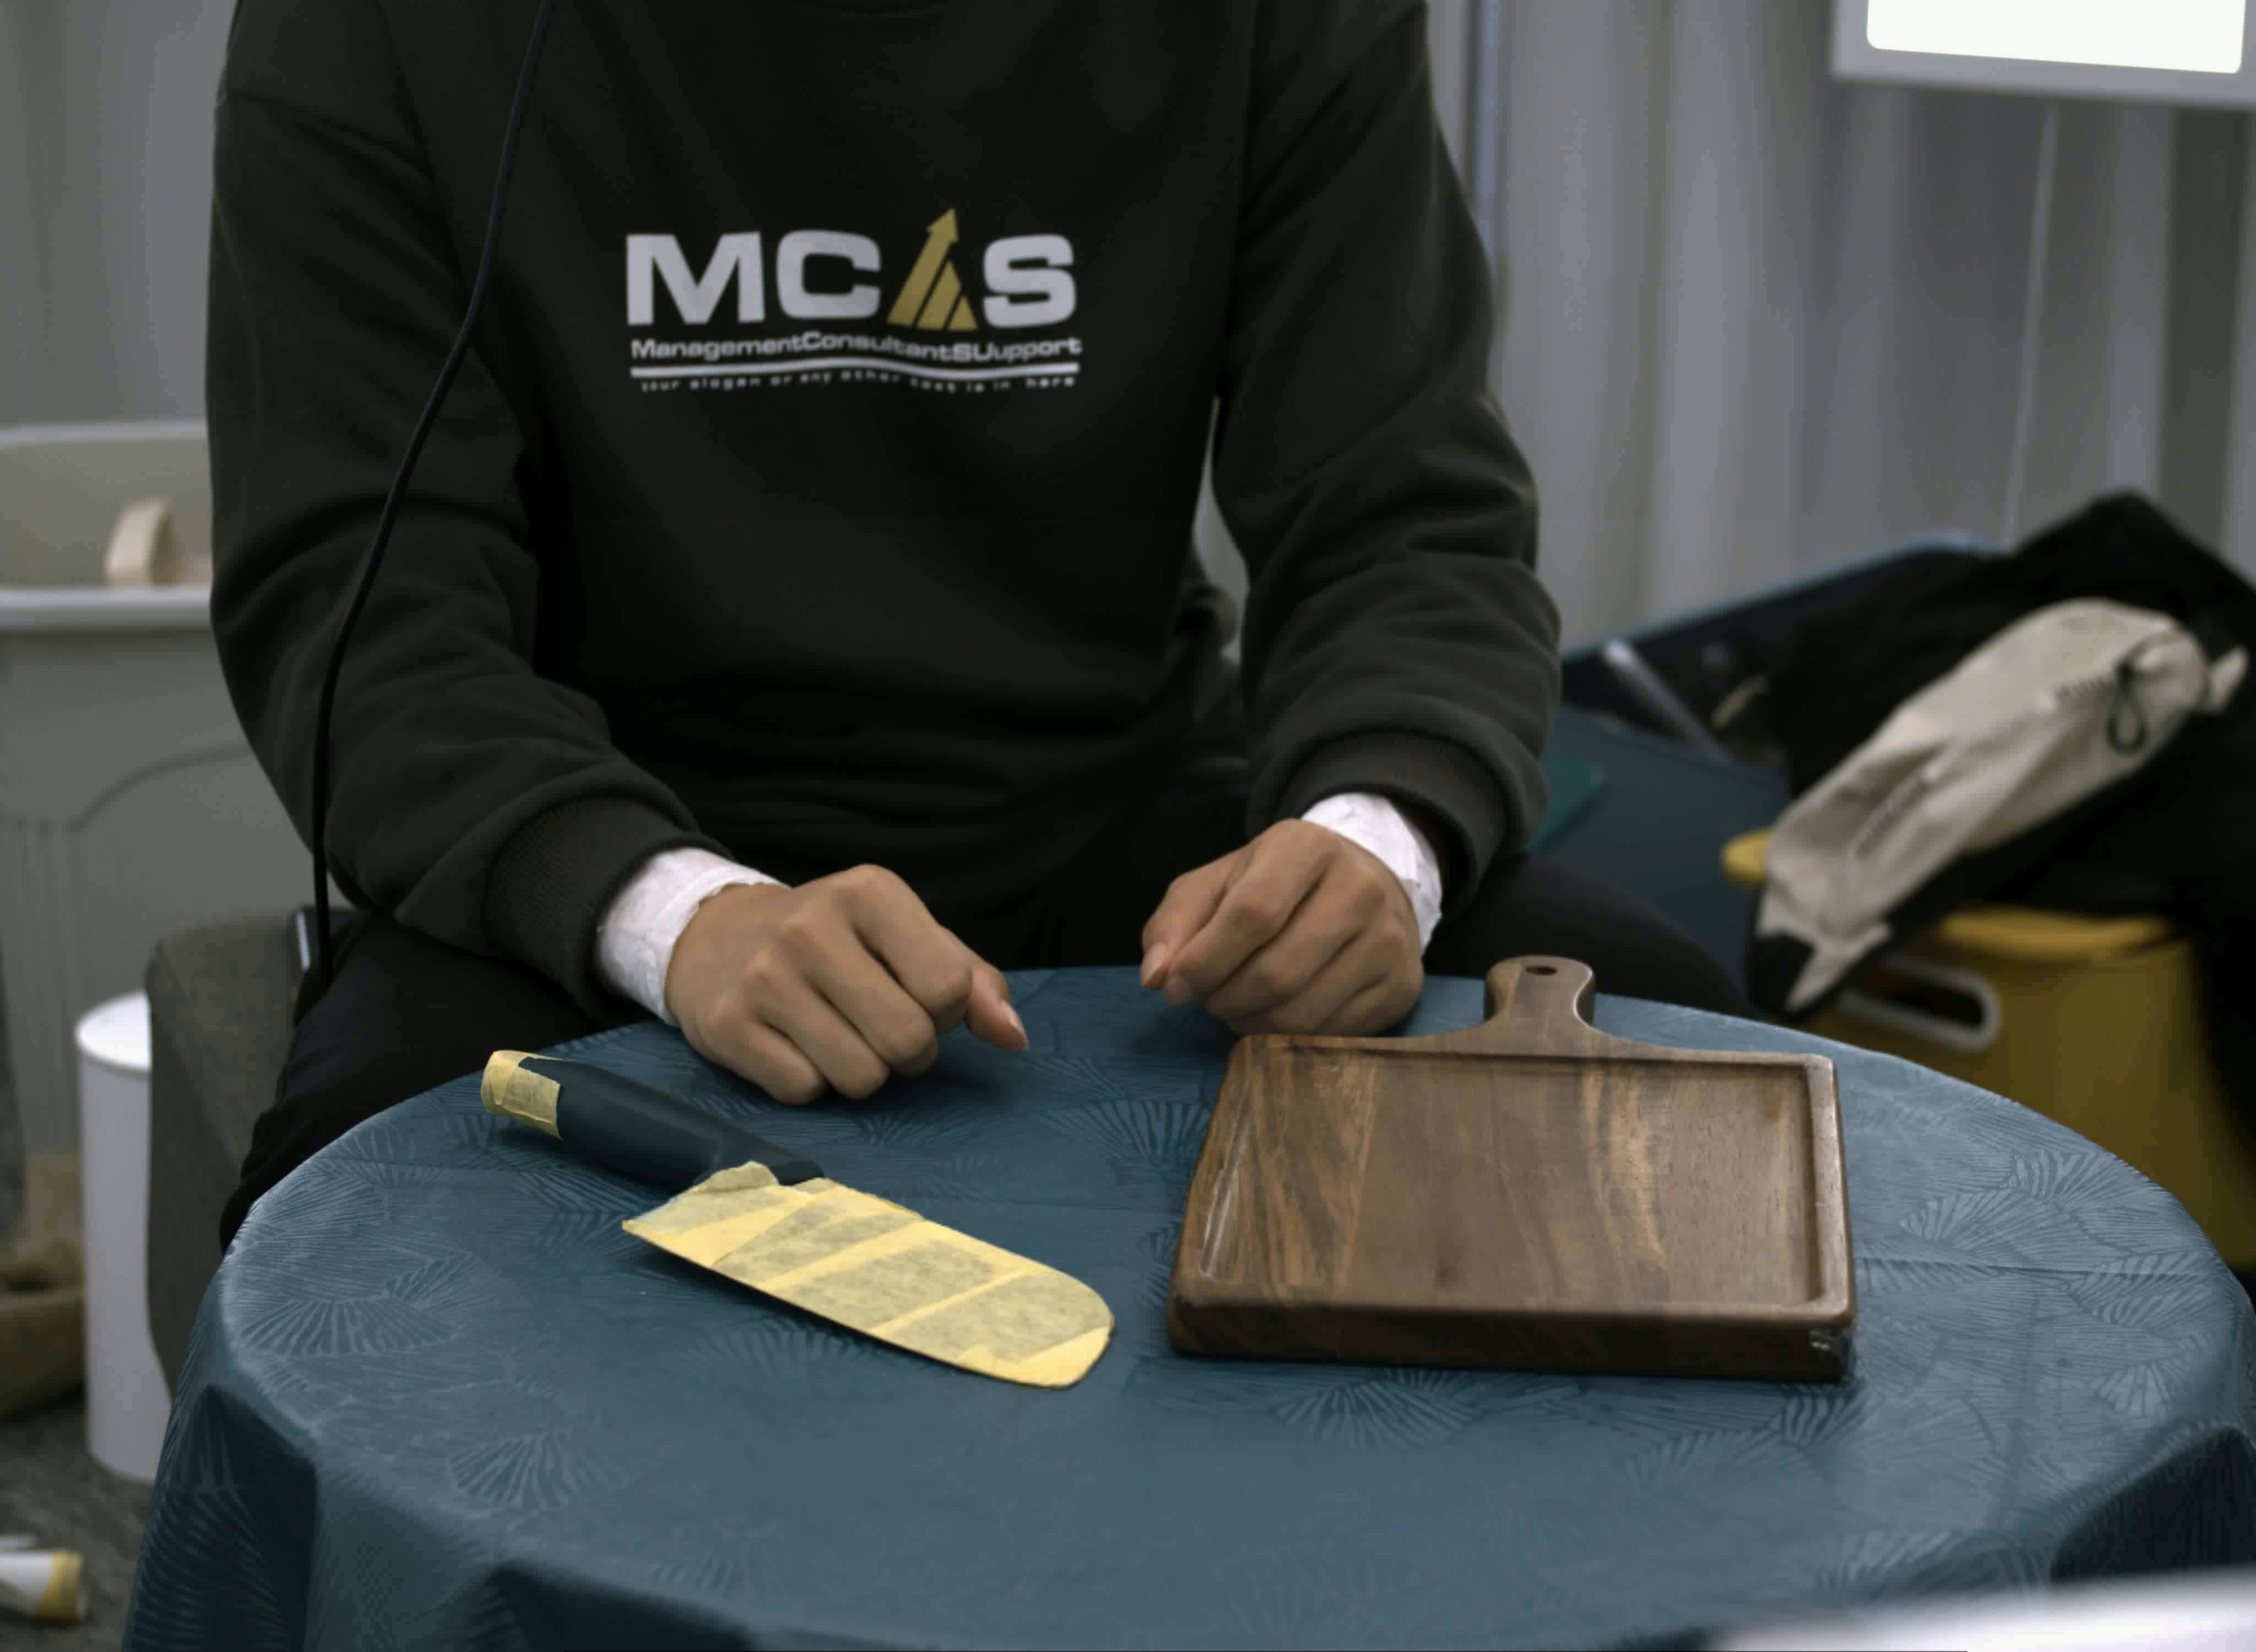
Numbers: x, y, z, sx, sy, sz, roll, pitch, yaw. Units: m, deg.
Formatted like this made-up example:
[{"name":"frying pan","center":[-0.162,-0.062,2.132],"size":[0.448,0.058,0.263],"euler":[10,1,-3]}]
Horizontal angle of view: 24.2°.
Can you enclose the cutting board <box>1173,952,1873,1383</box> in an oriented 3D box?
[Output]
[{"name":"cutting board","center":[0.124,0.098,1.640],"size":[0.200,0.023,0.351],"euler":[2,15,5]}]

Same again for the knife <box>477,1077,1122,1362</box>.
[{"name":"knife","center":[-0.109,0.119,1.570],"size":[0.081,0.027,0.285],"euler":[-12,21,-43]}]
